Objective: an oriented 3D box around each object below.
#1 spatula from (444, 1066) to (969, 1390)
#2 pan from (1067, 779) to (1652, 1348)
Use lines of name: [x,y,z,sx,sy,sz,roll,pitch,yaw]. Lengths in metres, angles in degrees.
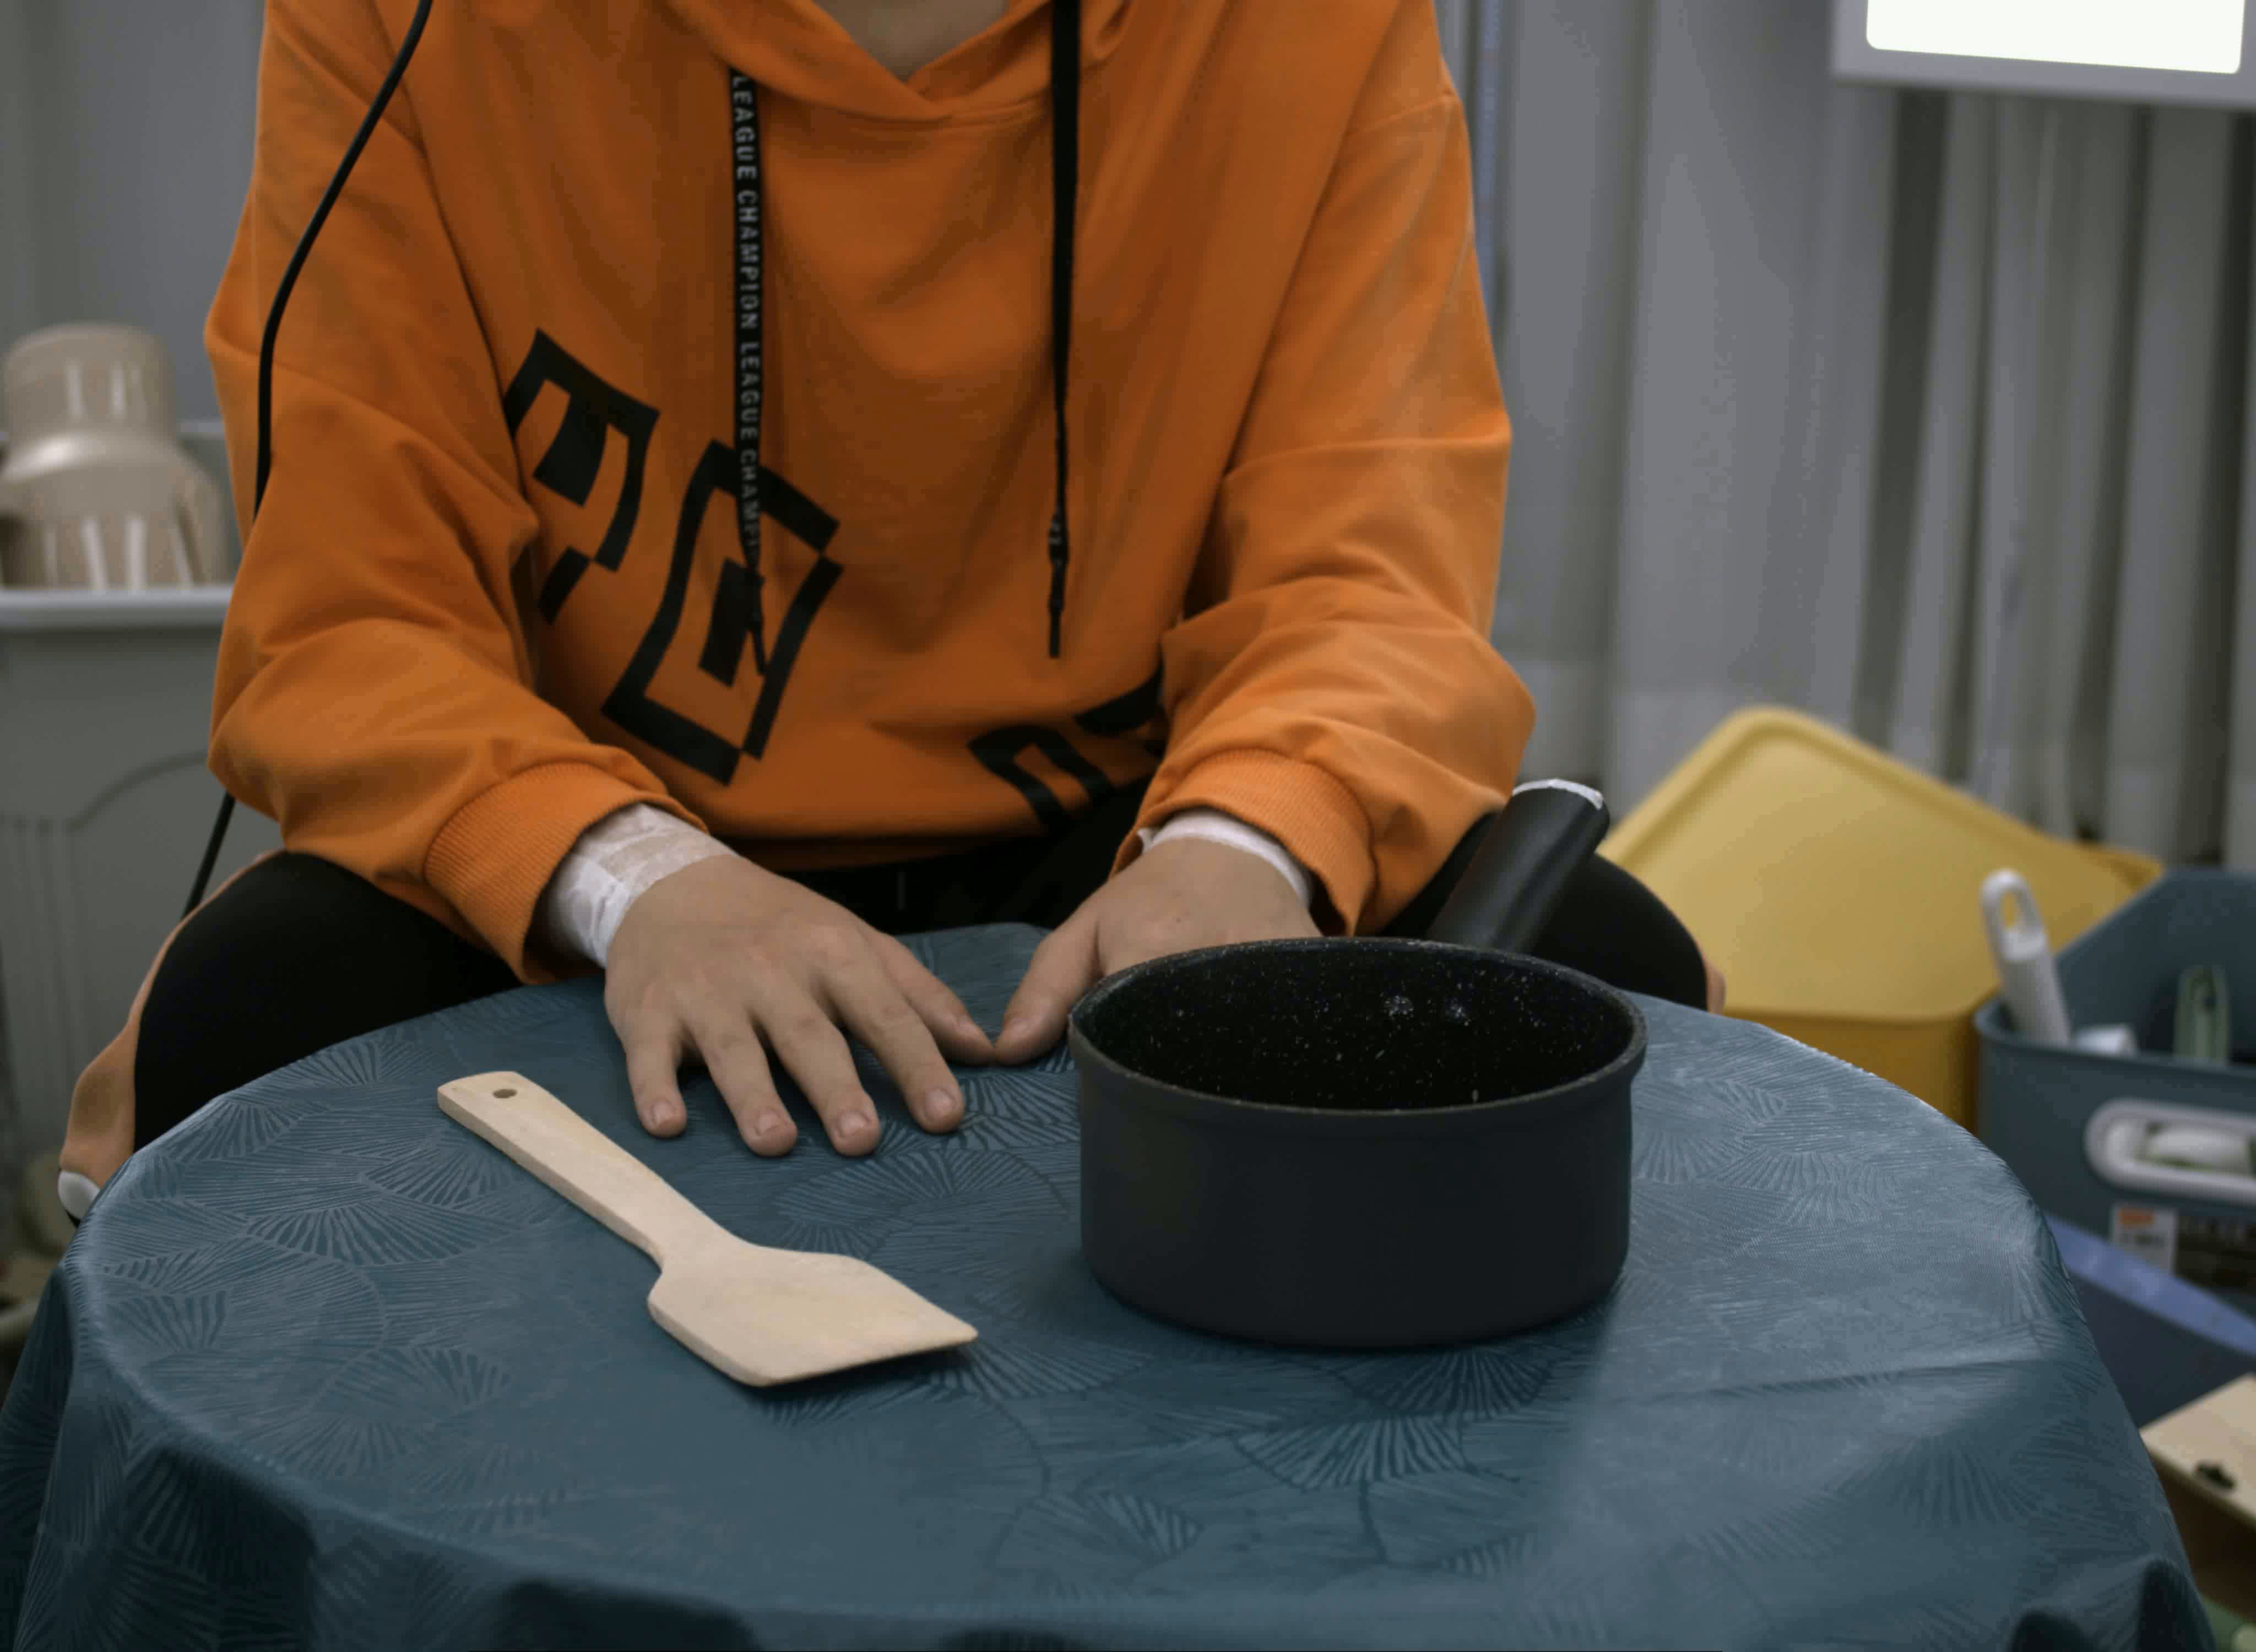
spatula: [-0.143,0.117,1.585,0.072,0.011,0.289,-12,19,-27]
pan: [0.096,0.069,1.624,0.170,0.087,0.329,7,19,20]
